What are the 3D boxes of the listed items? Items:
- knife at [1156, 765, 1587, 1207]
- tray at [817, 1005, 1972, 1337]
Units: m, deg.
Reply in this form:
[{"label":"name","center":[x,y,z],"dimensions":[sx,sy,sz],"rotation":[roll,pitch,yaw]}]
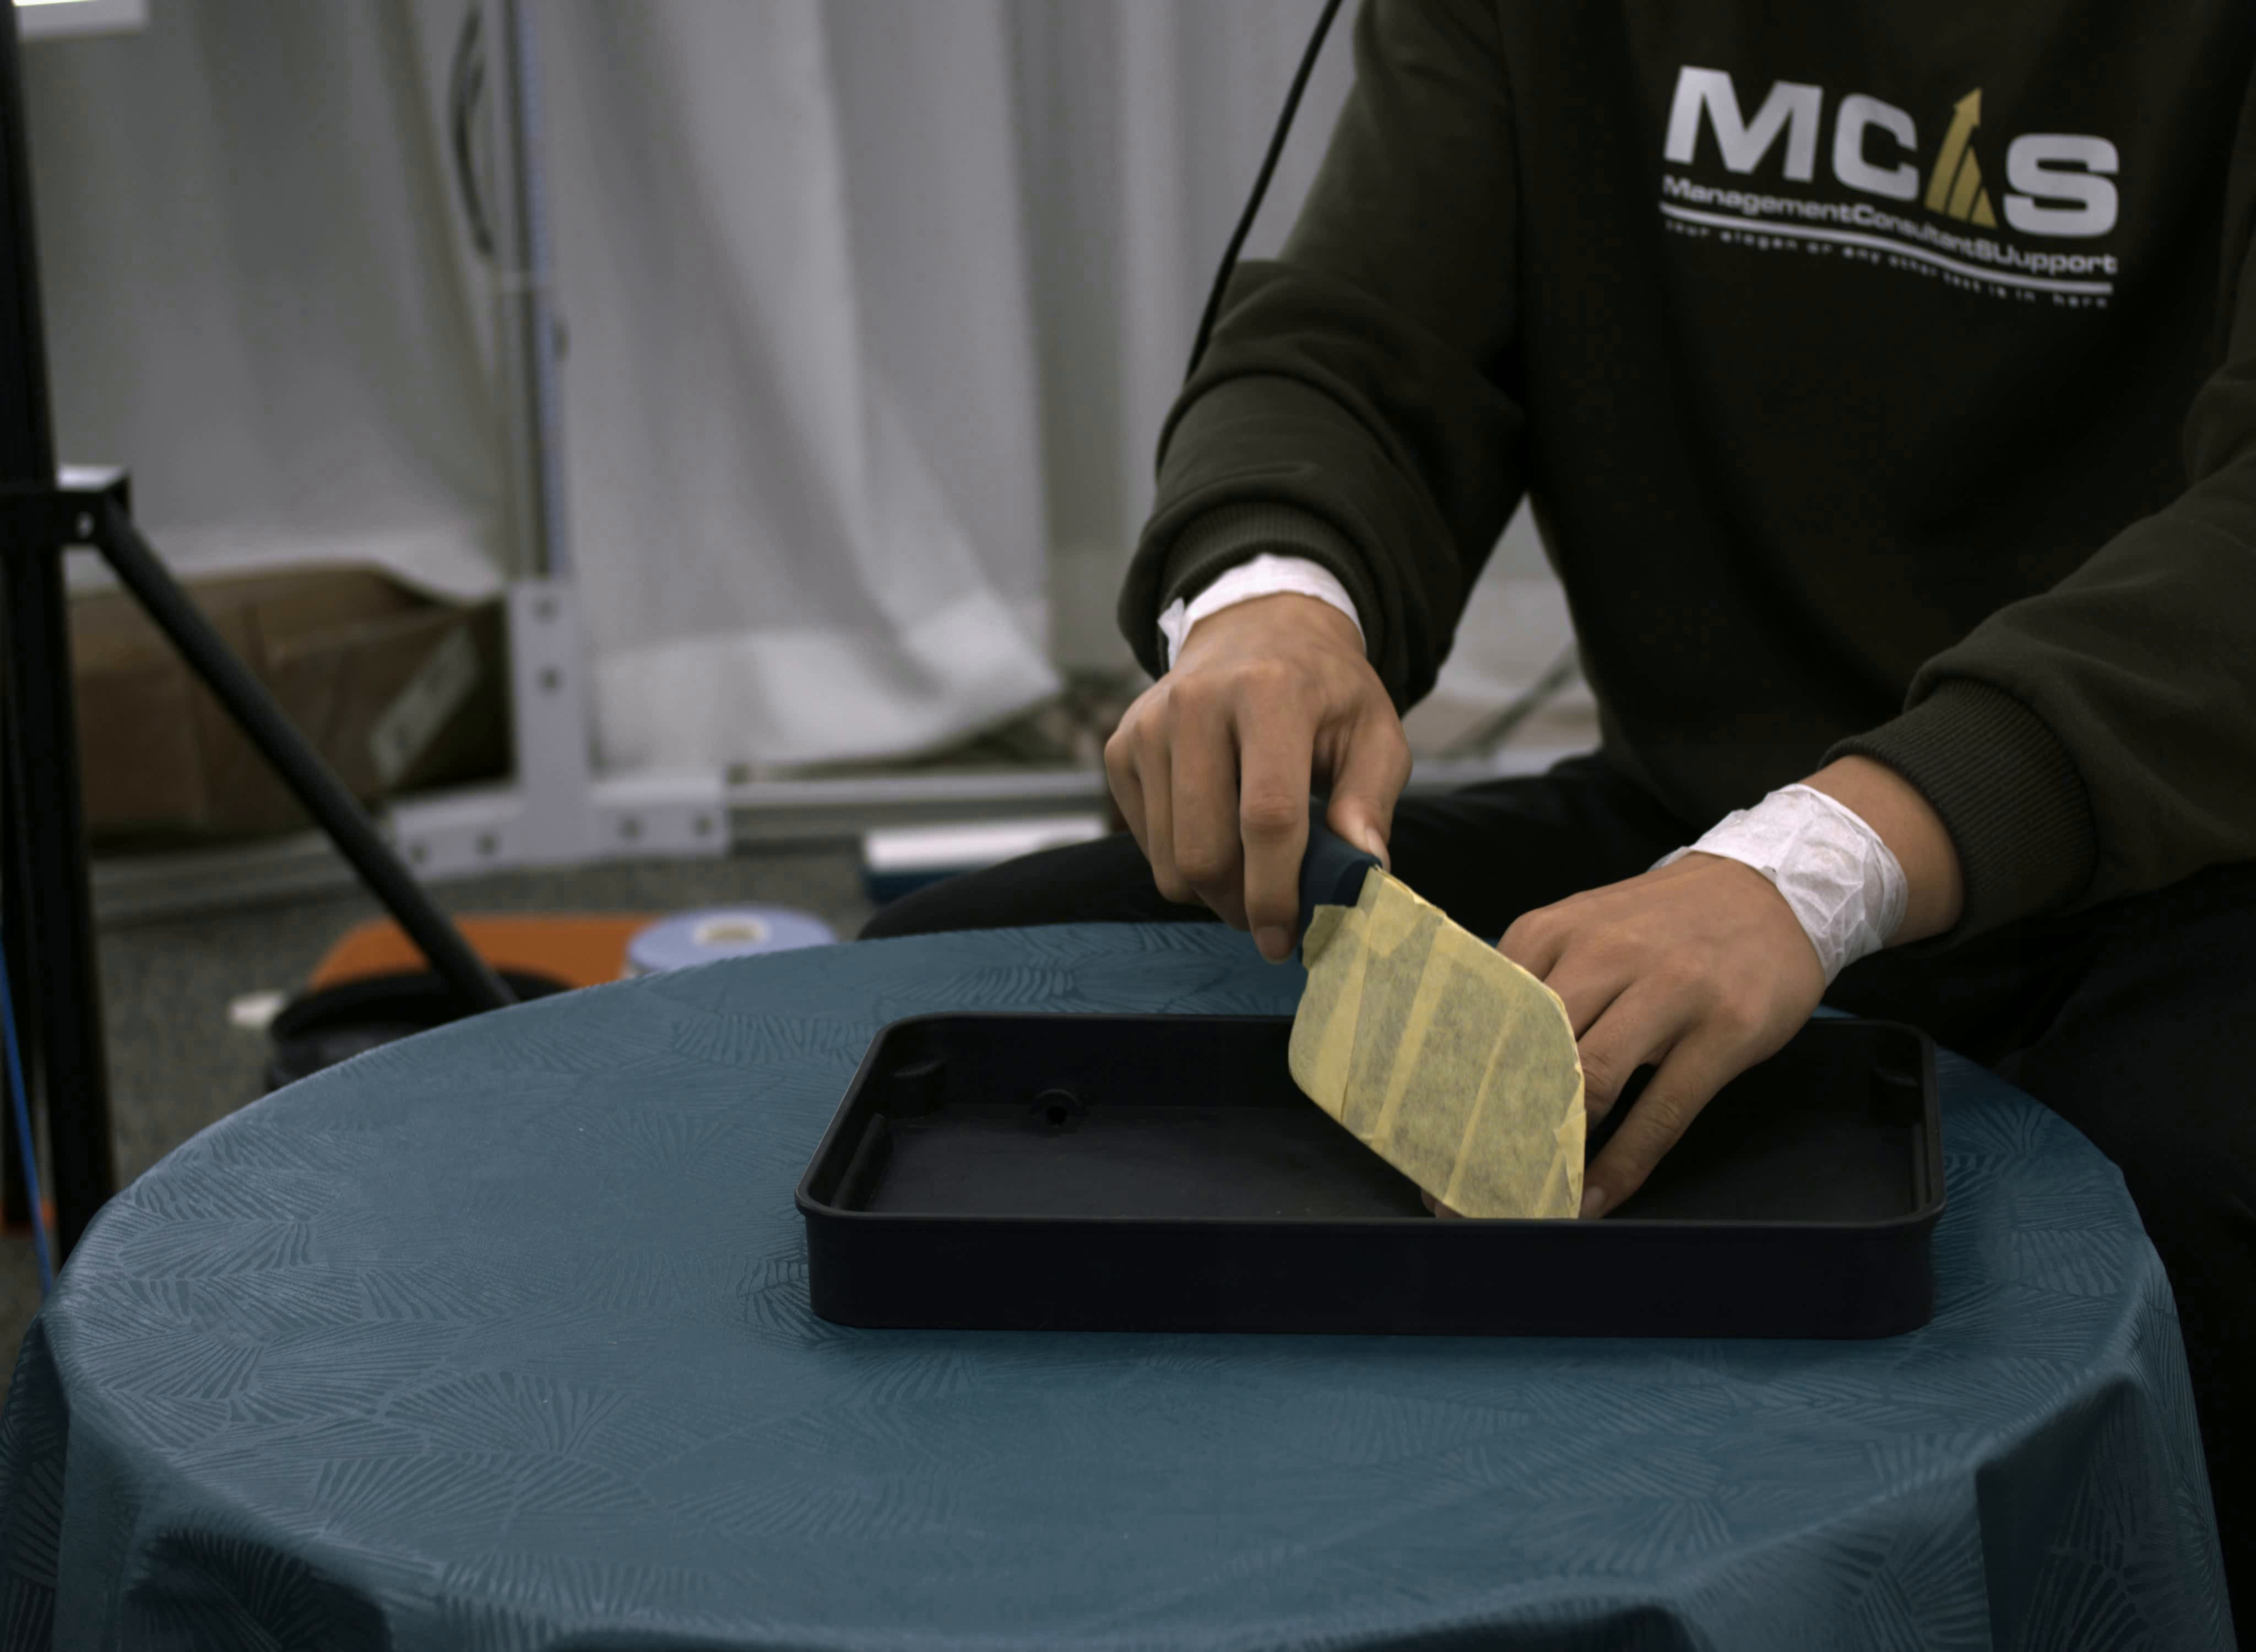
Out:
[{"label":"knife","center":[0.068,0.046,1.564],"dimensions":[0.026,0.081,0.295],"rotation":[14,14,-27]},{"label":"tray","center":[0.078,0.097,1.520],"dimensions":[0.318,0.037,0.184],"rotation":[0,16,7]}]
